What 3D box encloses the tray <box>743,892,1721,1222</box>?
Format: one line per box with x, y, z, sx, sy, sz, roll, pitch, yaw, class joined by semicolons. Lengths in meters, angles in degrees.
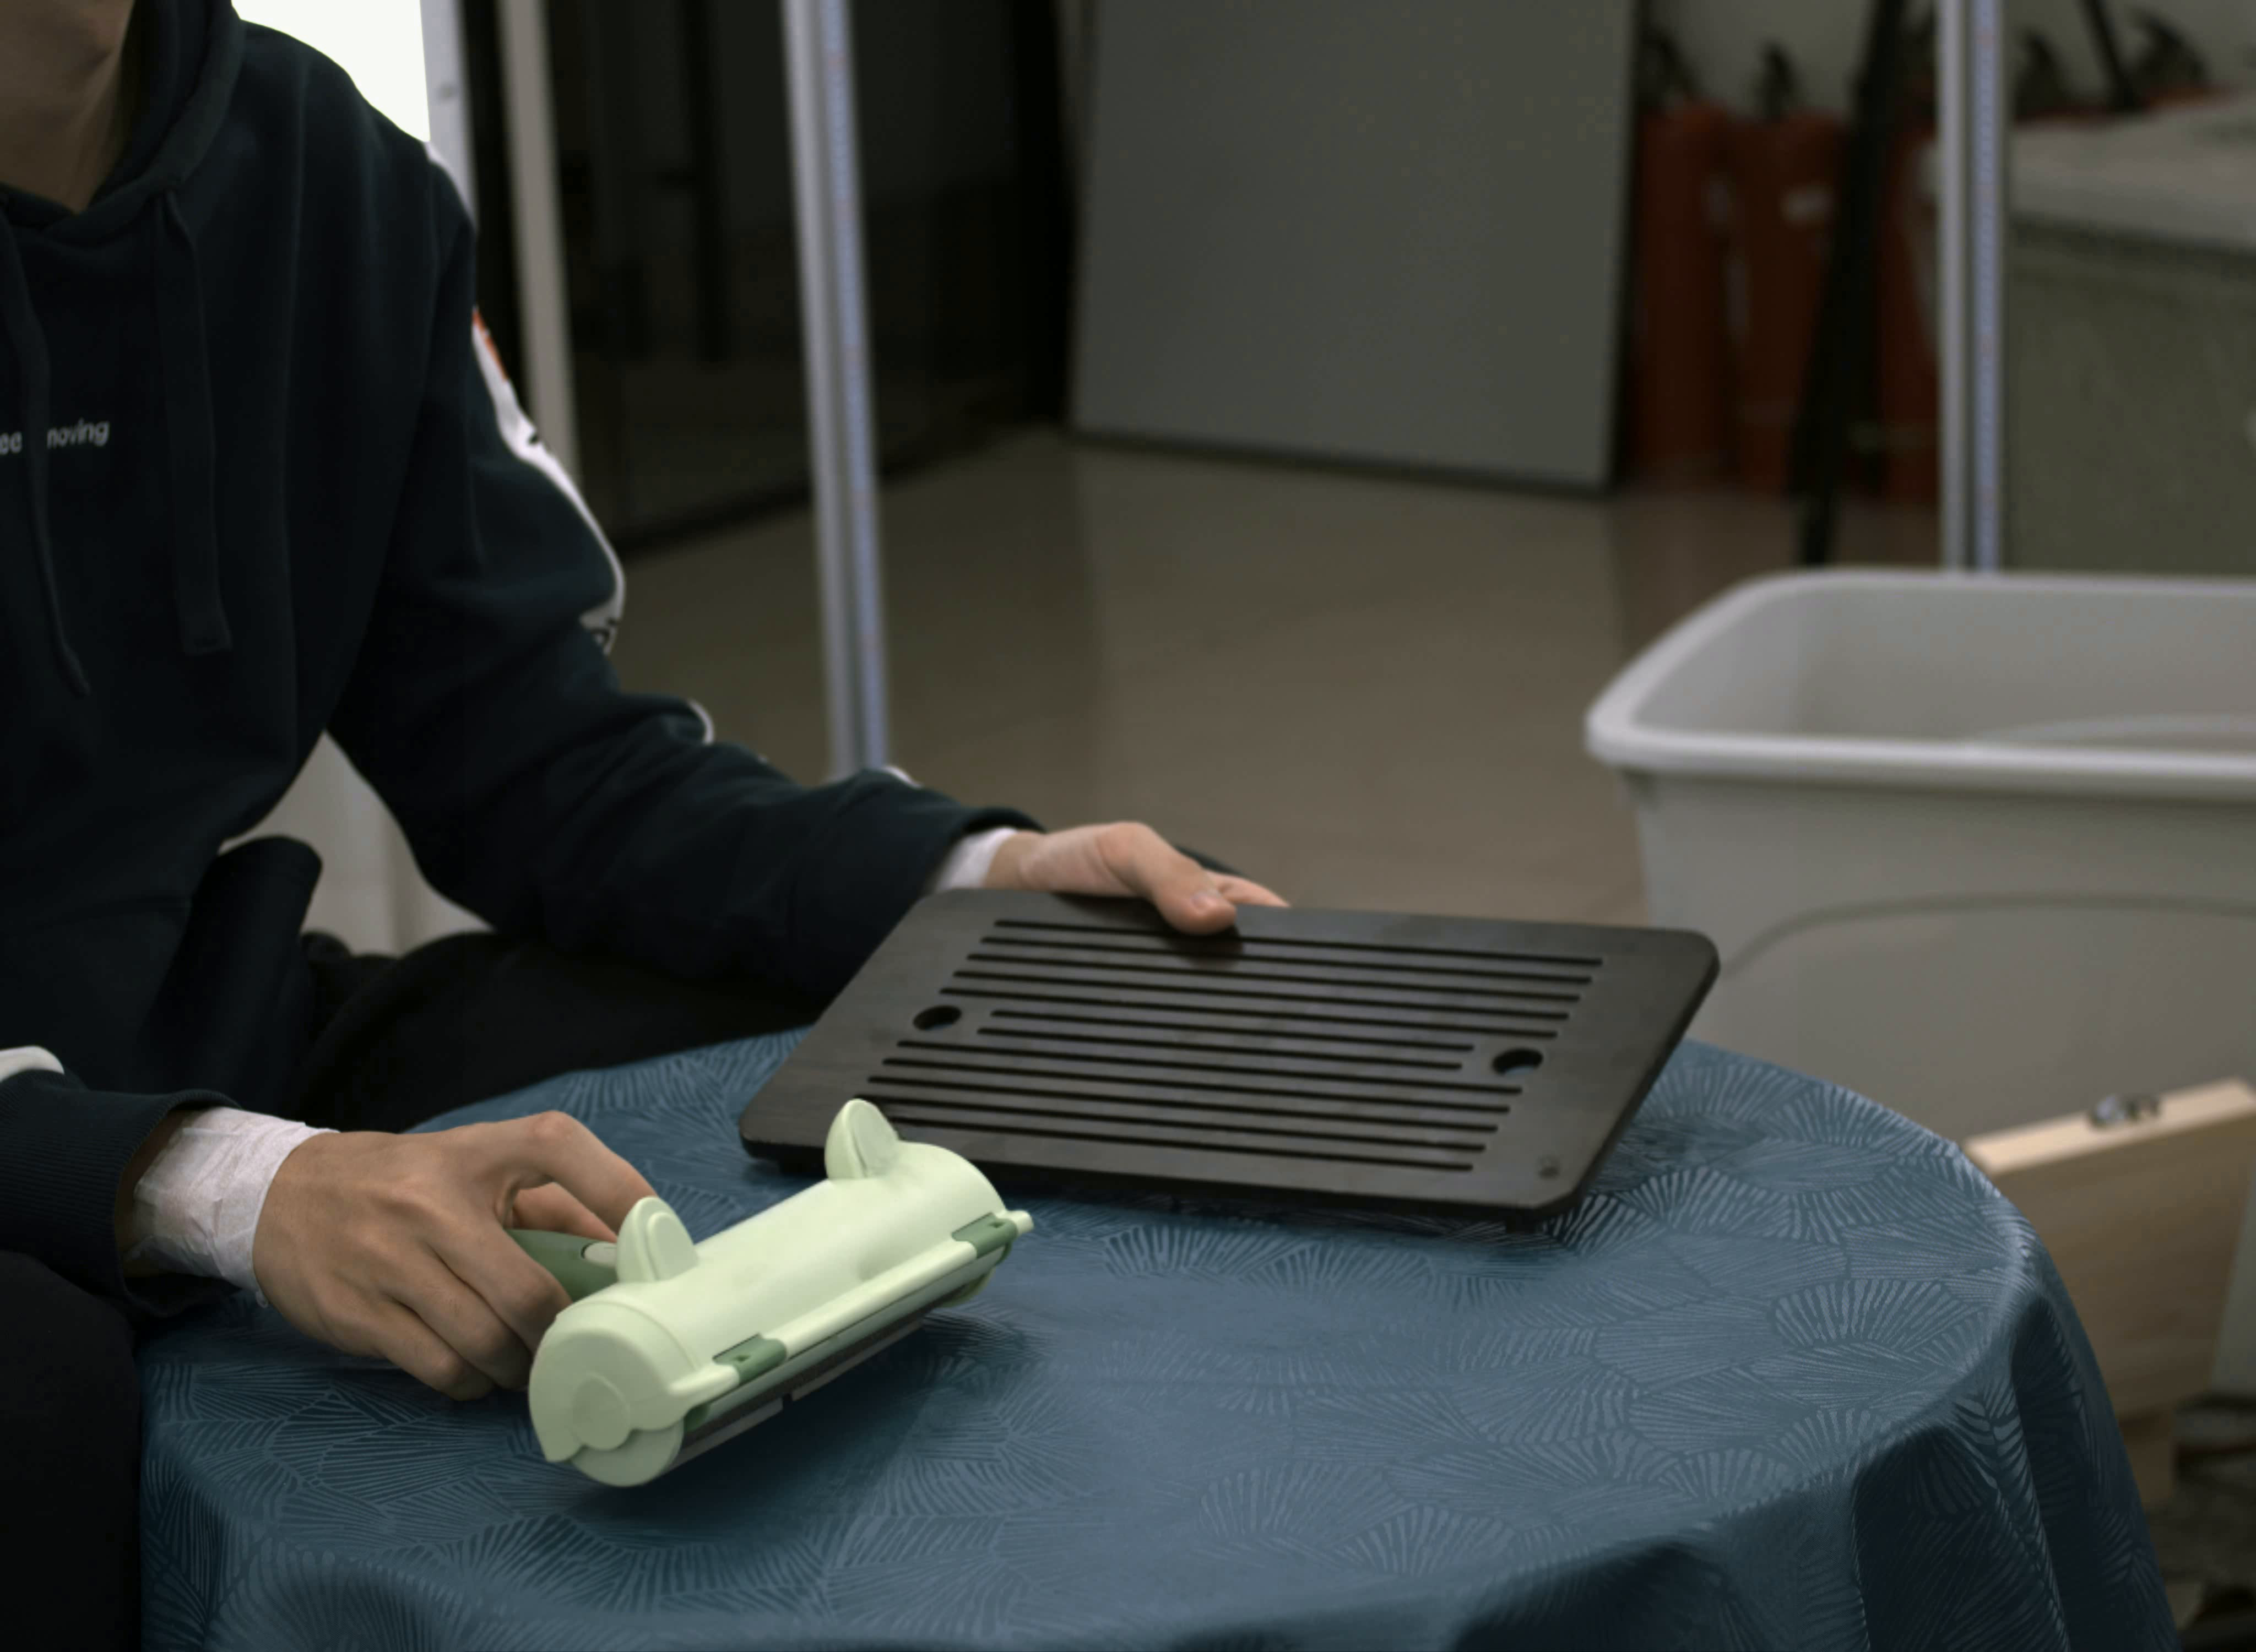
0.035;0.076;1.811;0.306;0.019;0.169;1;31;27;tray

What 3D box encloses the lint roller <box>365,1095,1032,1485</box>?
-0.150;0.124;1.606;0.184;0.083;0.195;12;16;27;lint roller
